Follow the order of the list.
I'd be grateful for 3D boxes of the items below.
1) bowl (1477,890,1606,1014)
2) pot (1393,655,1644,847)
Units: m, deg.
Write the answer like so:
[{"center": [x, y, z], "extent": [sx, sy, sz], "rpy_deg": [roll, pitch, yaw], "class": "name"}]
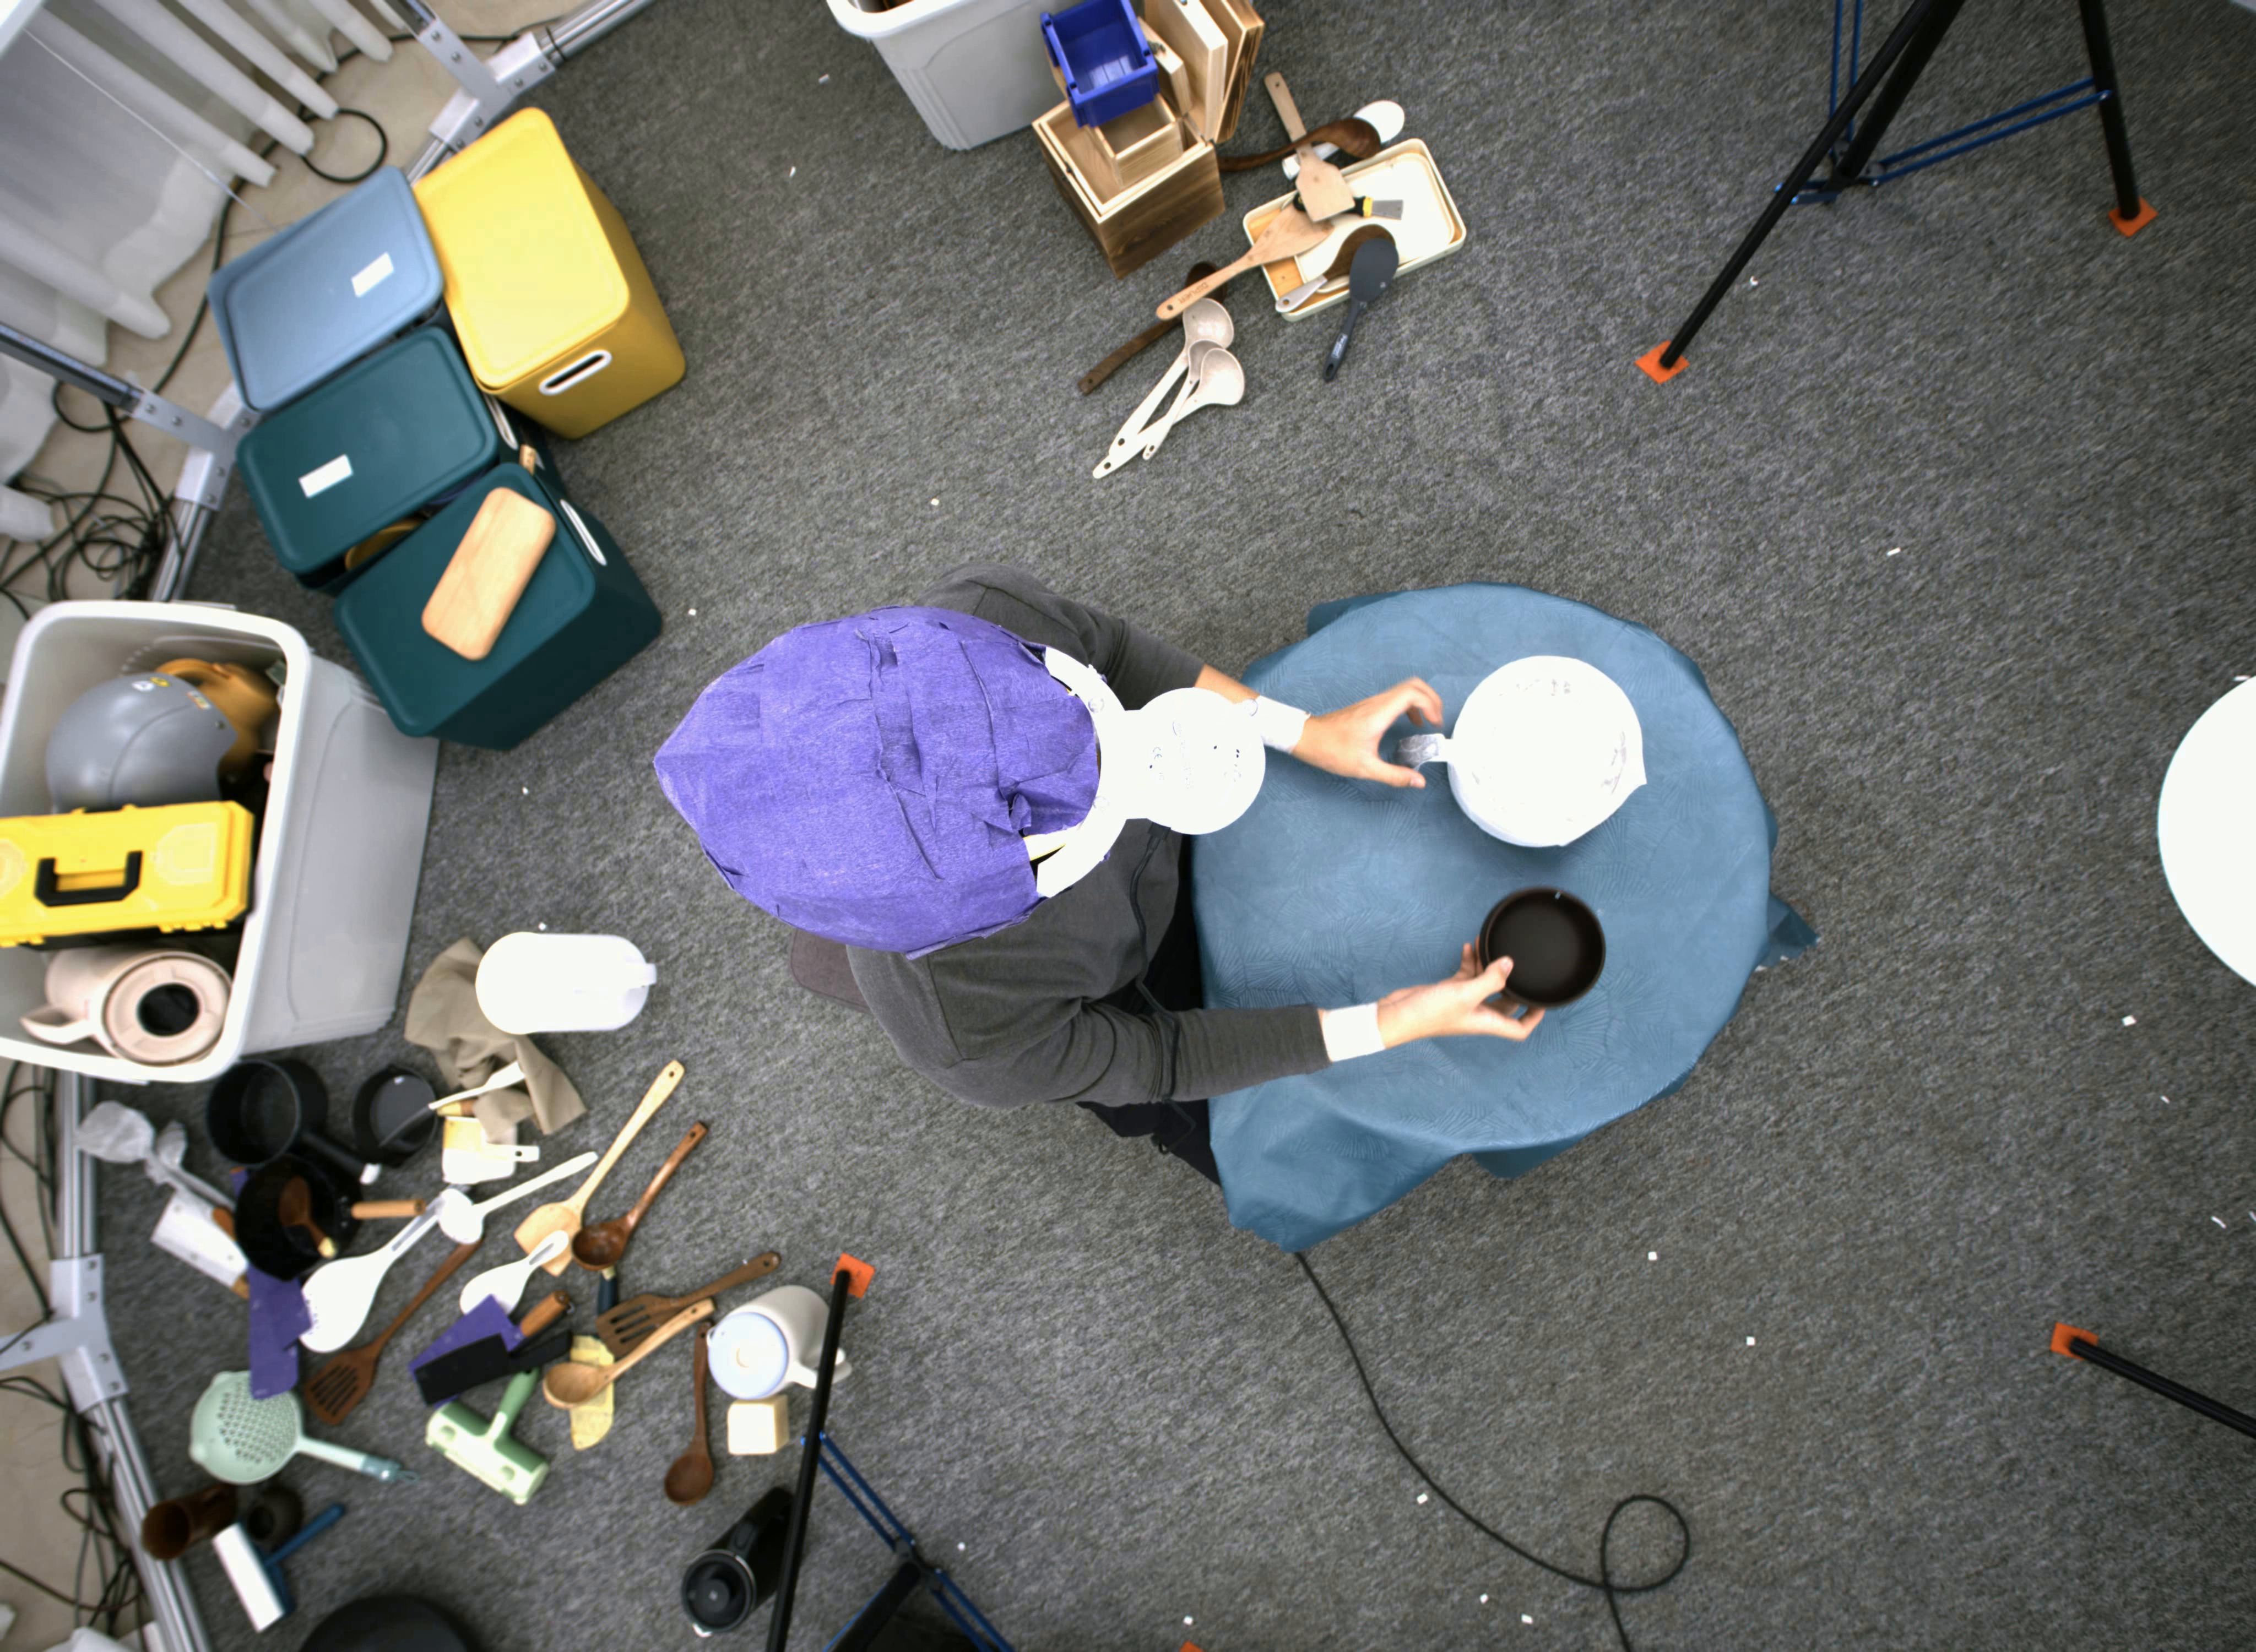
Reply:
[{"center": [0.397, 0.120, 1.332], "extent": [0.118, 0.070, 0.117], "rpy_deg": [-1, 87, 7], "class": "bowl"}, {"center": [0.385, -0.072, 1.377], "extent": [0.234, 0.137, 0.178], "rpy_deg": [1, 85, 11], "class": "pot"}]
